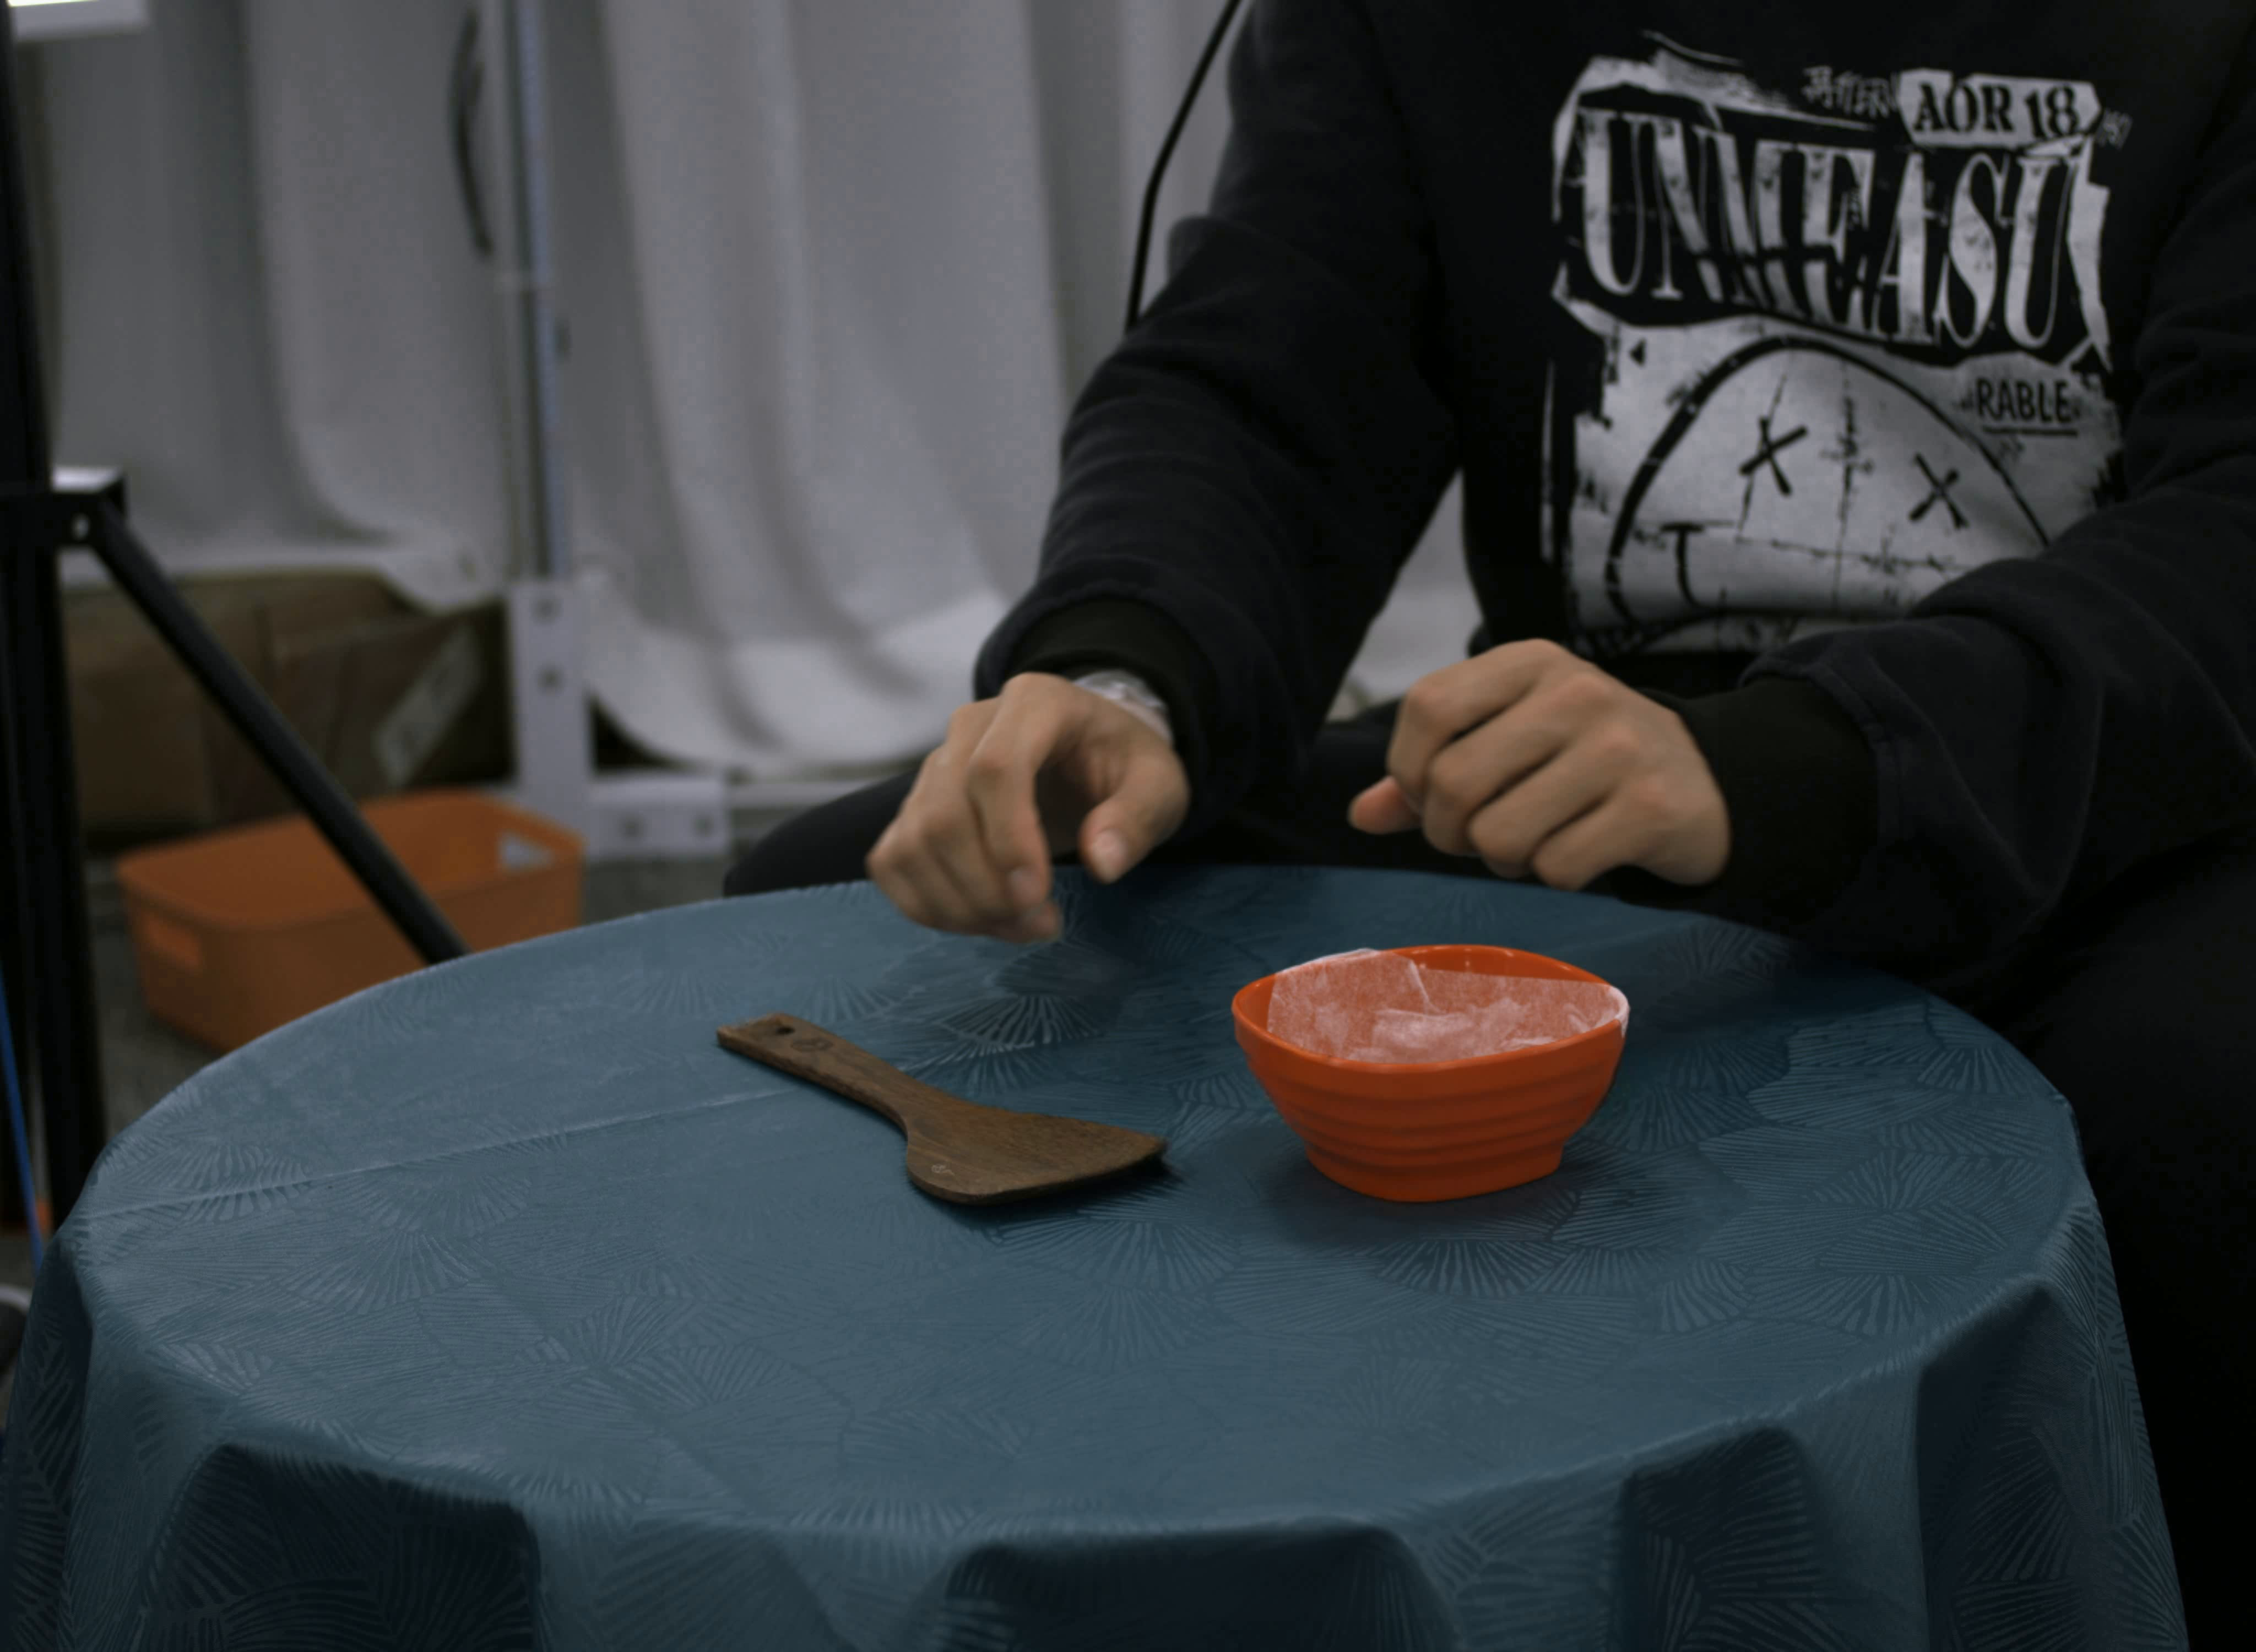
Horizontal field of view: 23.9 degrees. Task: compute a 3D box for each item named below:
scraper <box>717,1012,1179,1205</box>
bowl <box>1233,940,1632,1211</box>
[{"bbox_3d":[-0.067,0.085,1.636,0.074,0.011,0.216,-11,17,-30],"label":"scraper"},{"bbox_3d":[0.090,0.076,1.564,0.118,0.051,0.119,-4,17,0],"label":"bowl"}]
